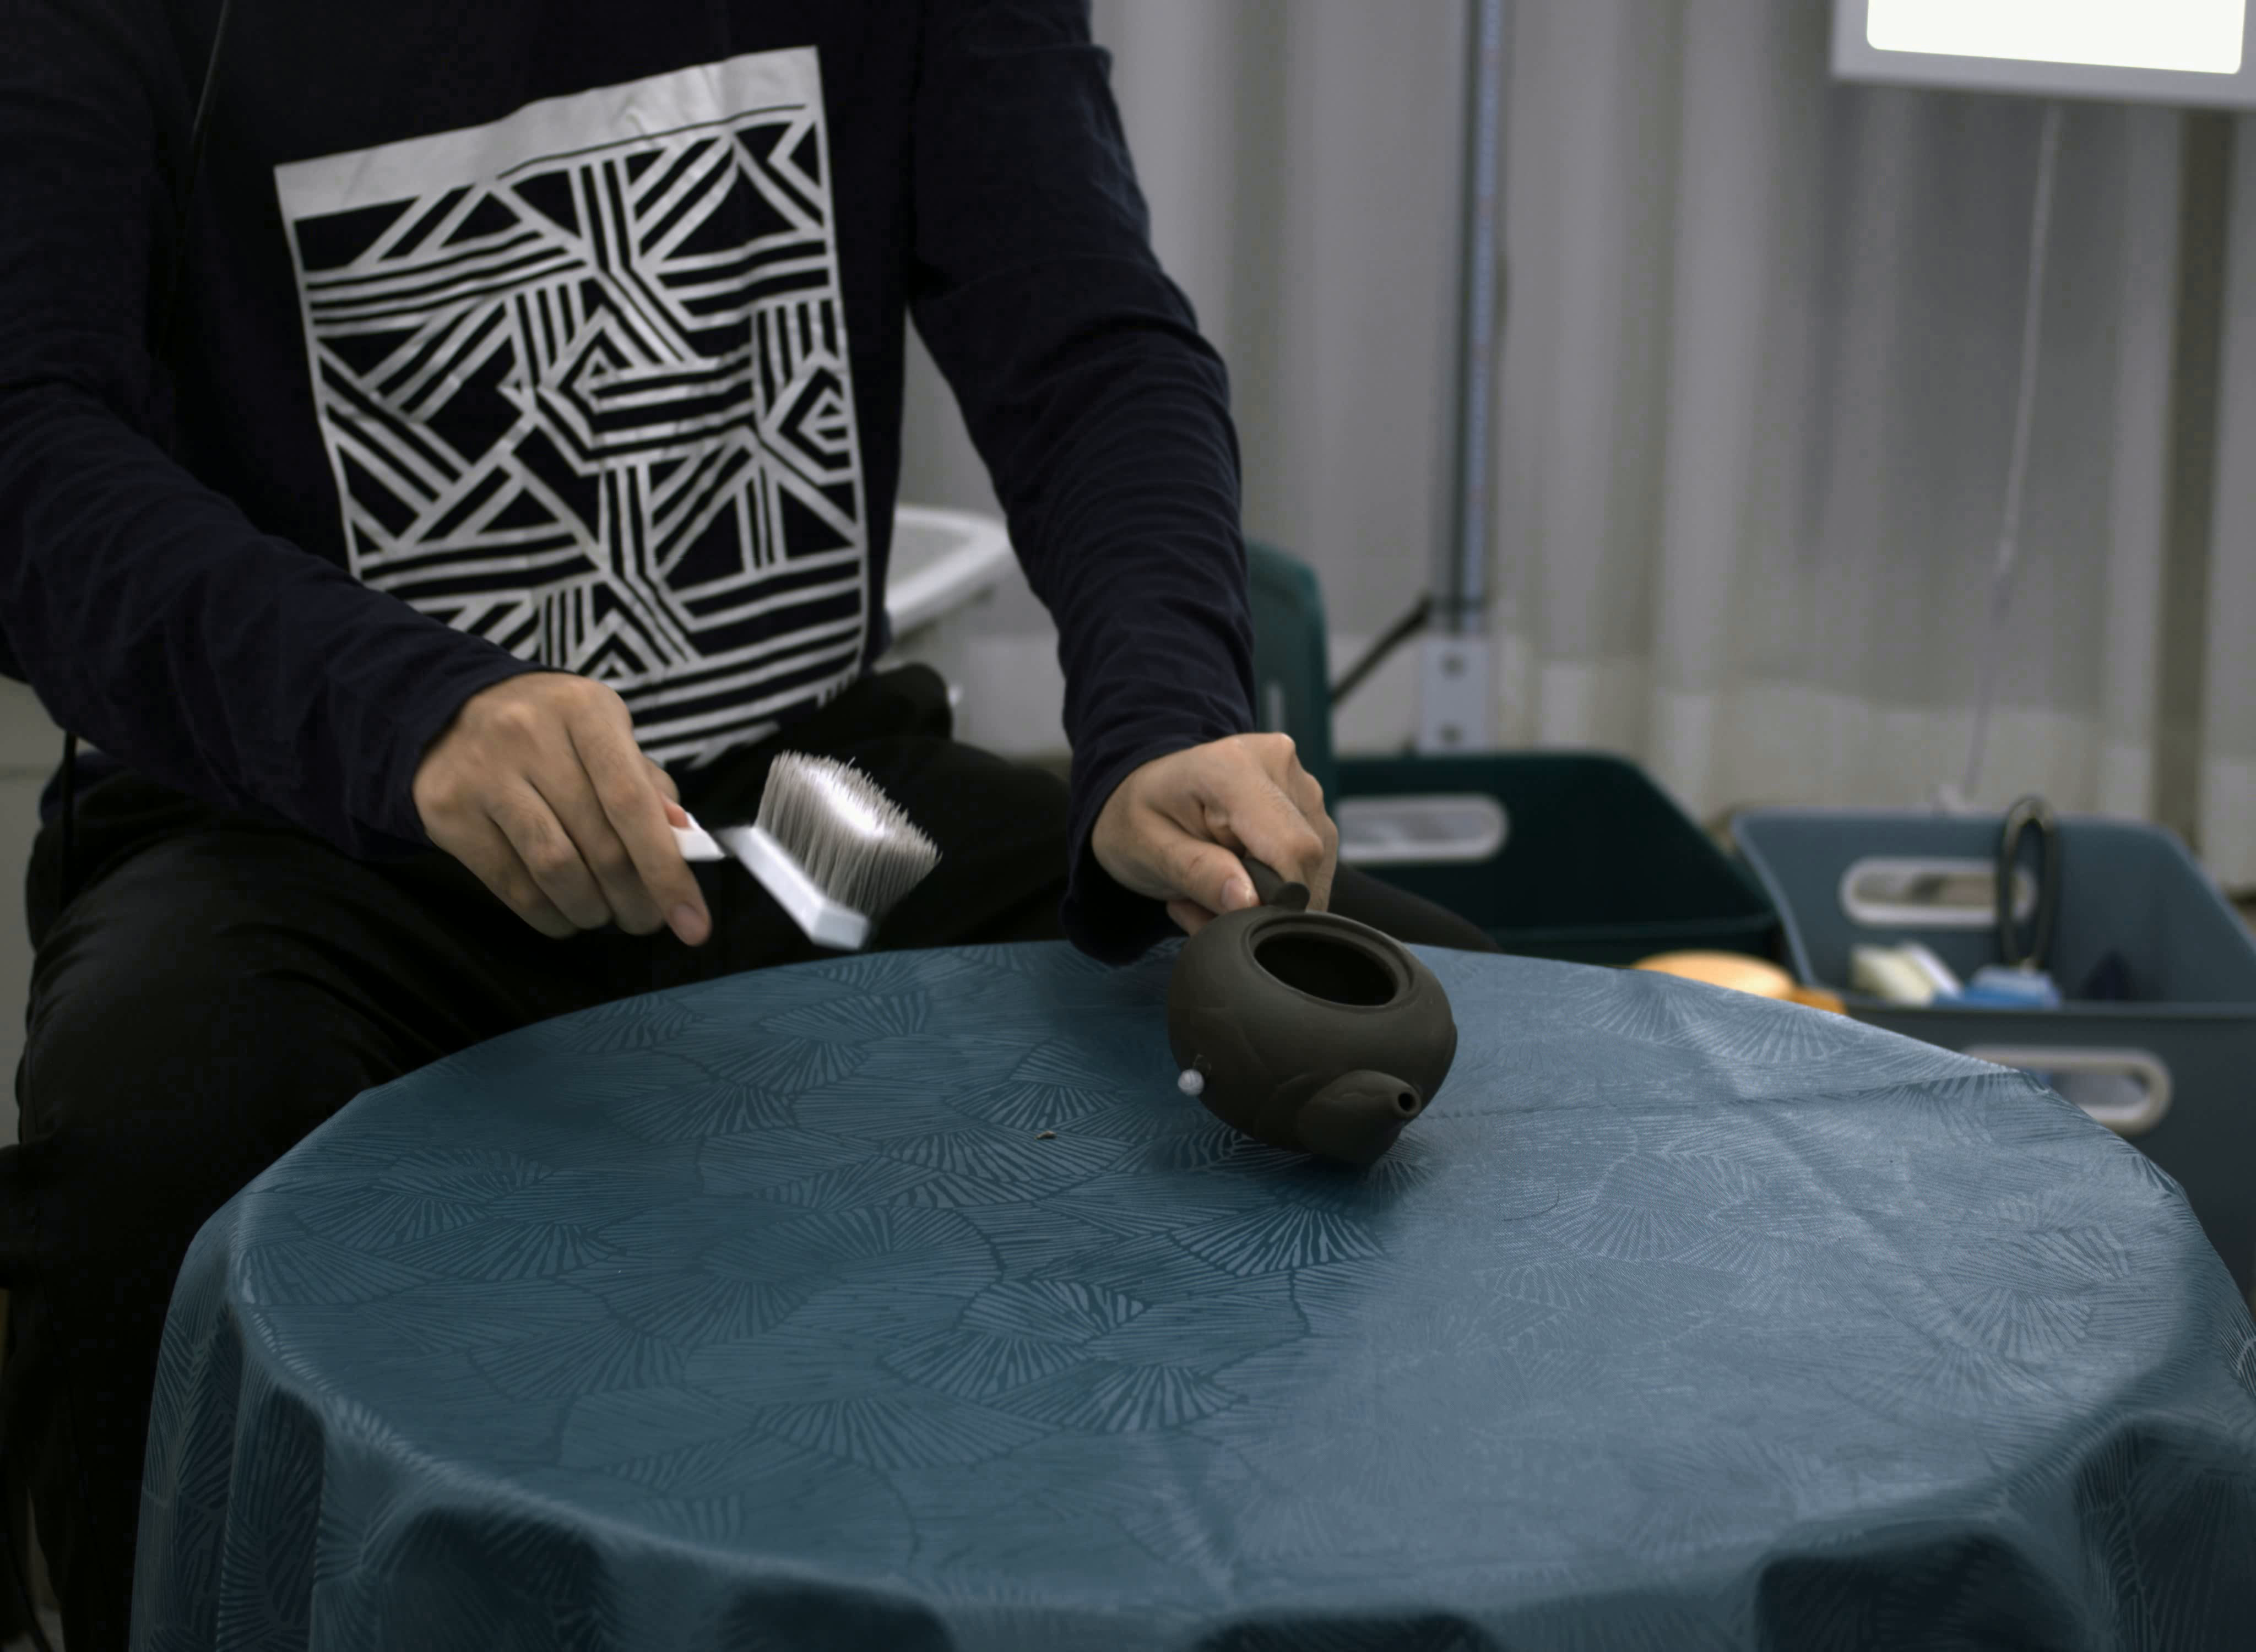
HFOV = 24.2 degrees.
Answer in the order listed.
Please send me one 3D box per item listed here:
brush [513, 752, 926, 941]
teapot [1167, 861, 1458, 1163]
[{"bbox_3d":[-0.134,-0.007,1.663,0.034,0.050,0.241,4,7,-32],"label":"brush"},{"bbox_3d":[0.056,0.063,1.666,0.093,0.065,0.152,5,30,-23],"label":"teapot"}]
